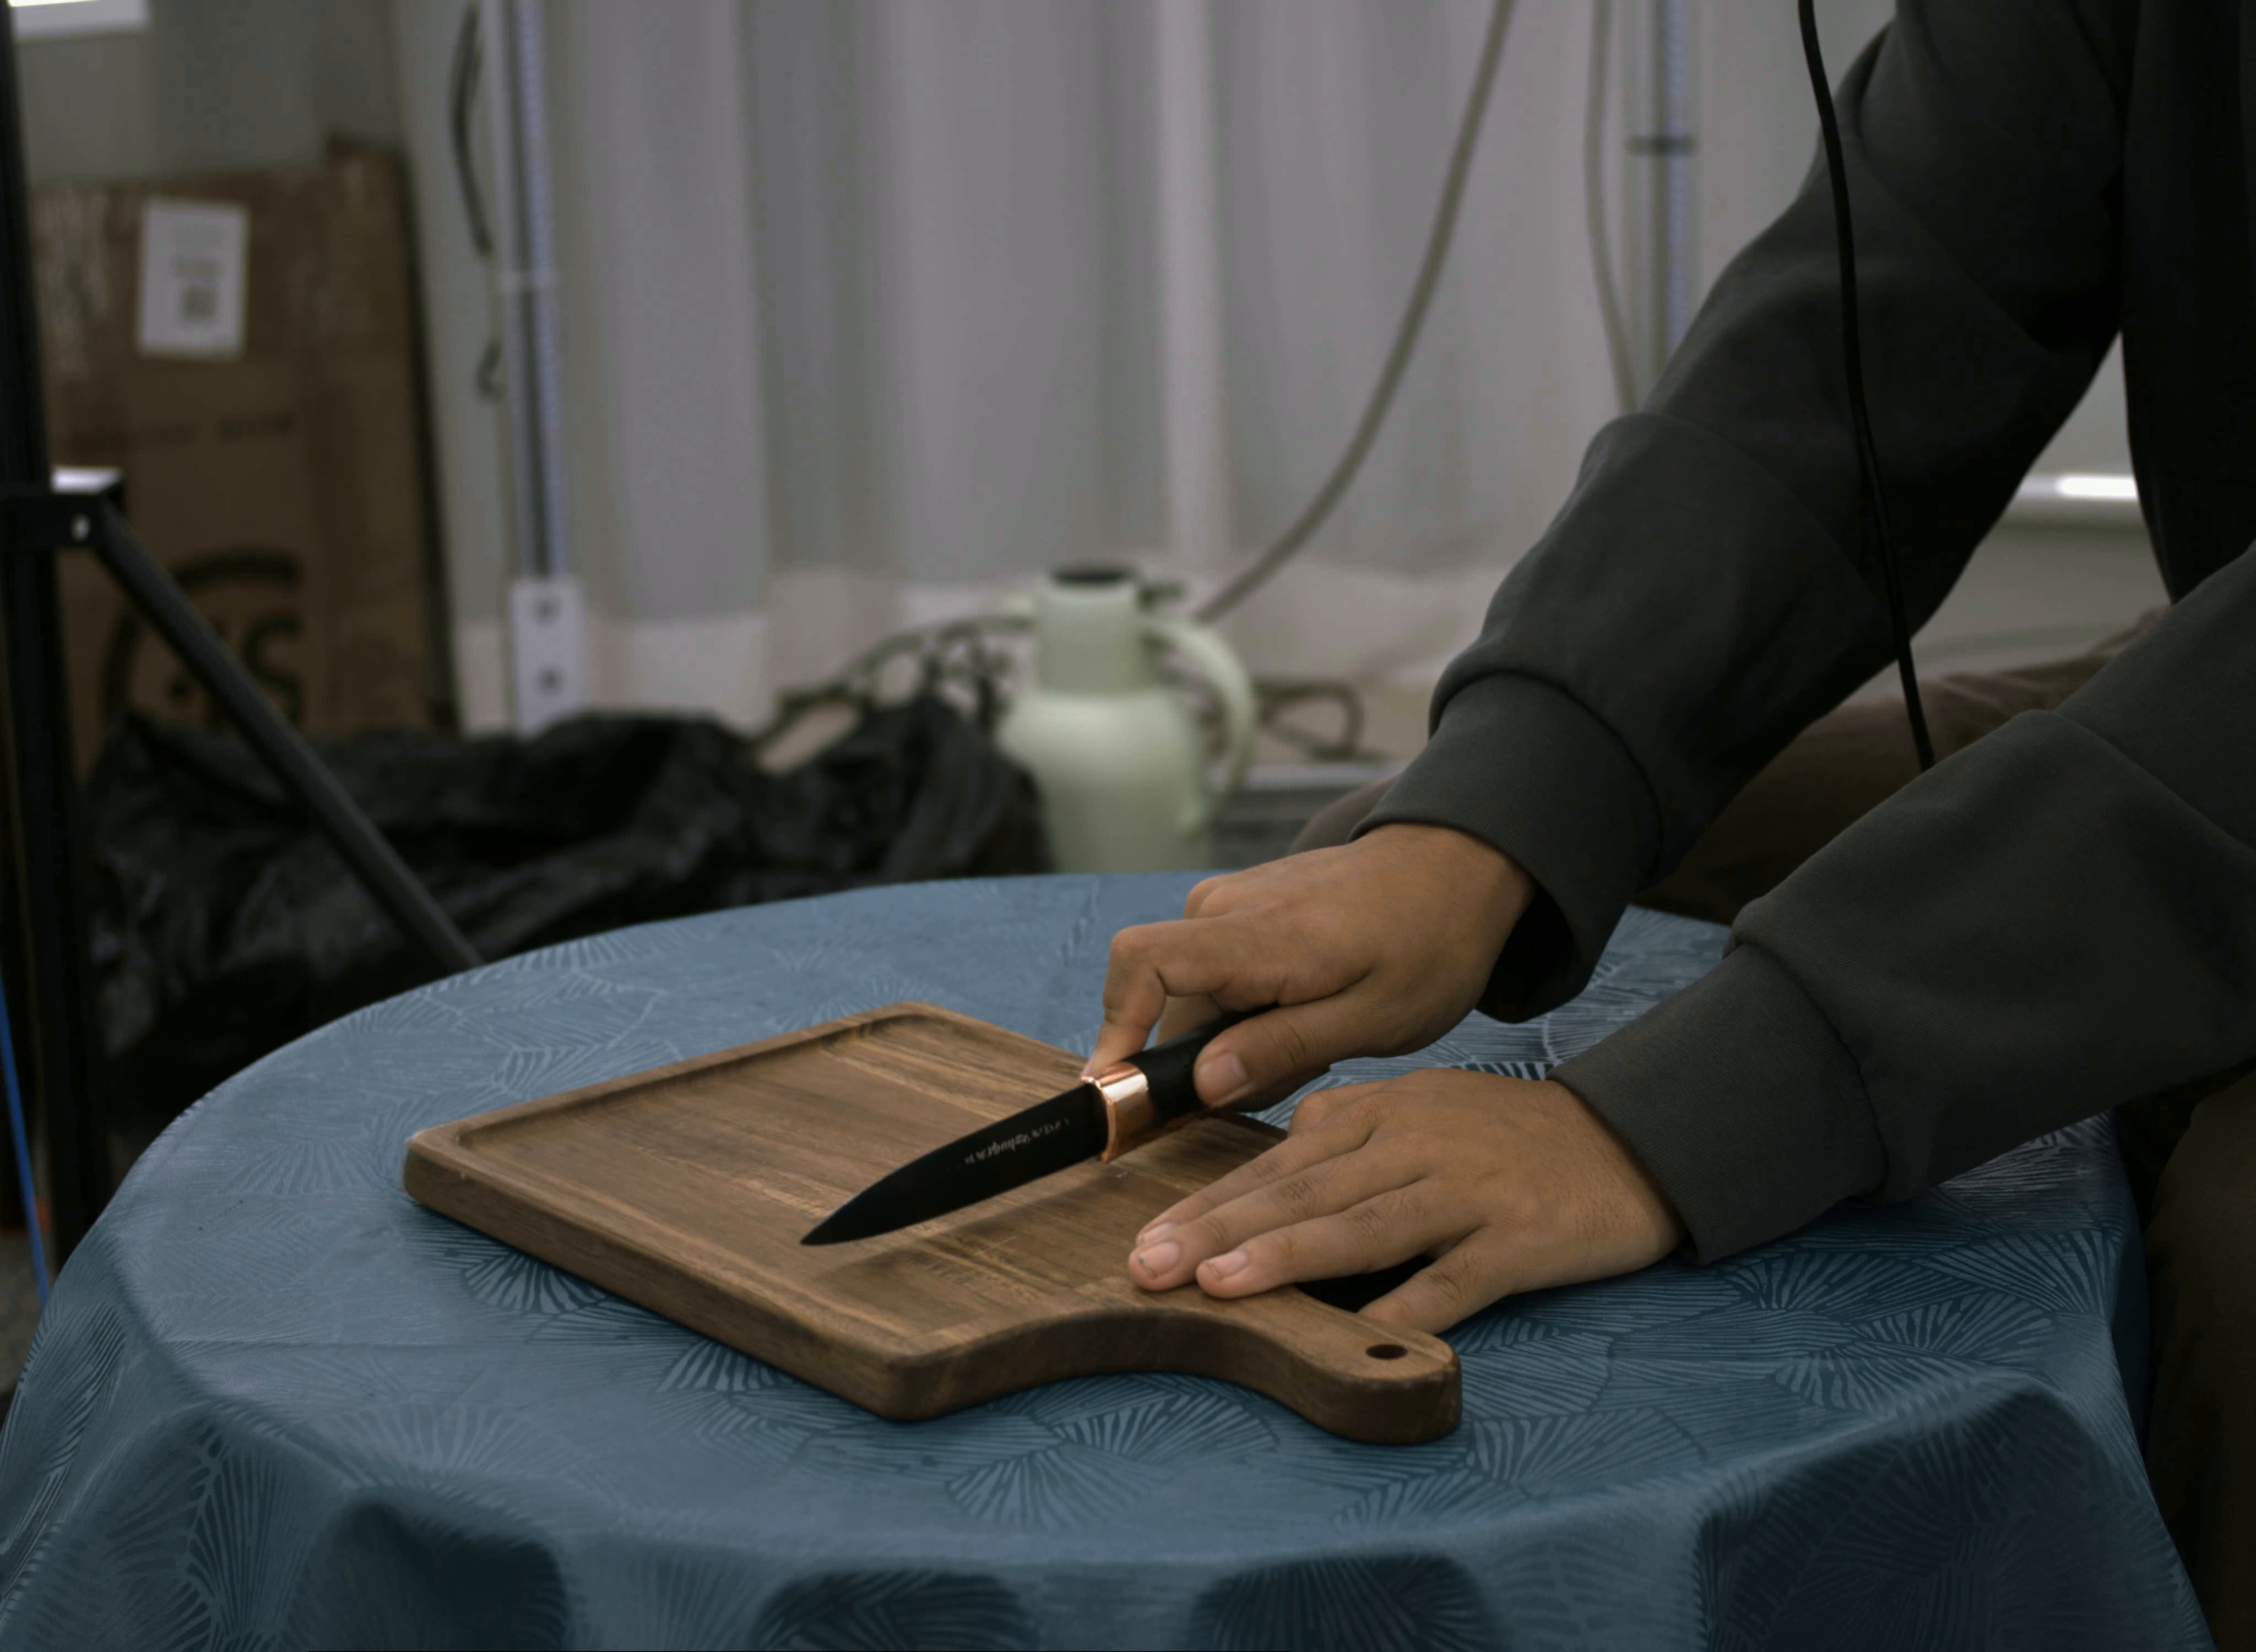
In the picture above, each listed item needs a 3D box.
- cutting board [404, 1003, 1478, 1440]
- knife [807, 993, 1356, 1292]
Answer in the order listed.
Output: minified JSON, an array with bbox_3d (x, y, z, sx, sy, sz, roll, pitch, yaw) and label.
[{"bbox_3d":[-0.030,0.115,1.497,0.196,0.023,0.360,-14,20,-36],"label":"cutting board"},{"bbox_3d":[-0.011,0.089,1.525,0.221,0.026,0.017,-22,17,-41],"label":"knife"}]
